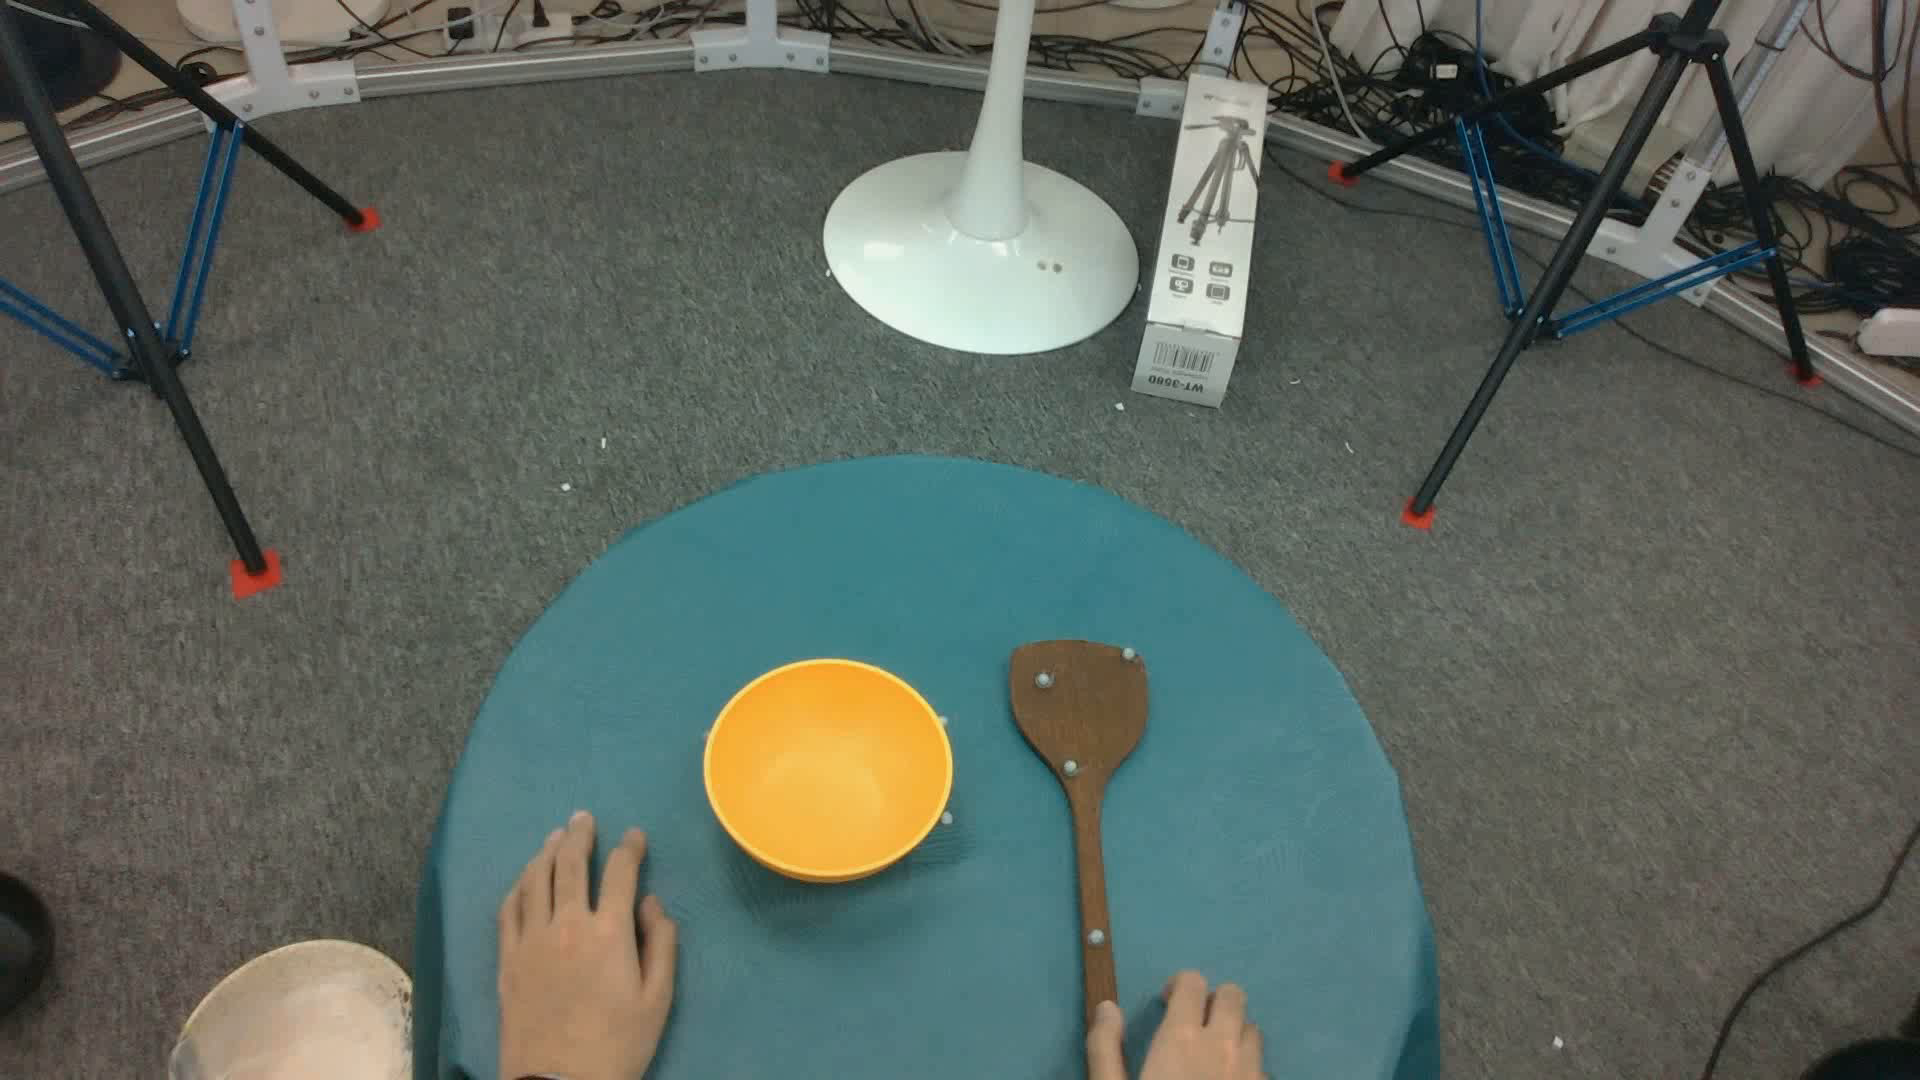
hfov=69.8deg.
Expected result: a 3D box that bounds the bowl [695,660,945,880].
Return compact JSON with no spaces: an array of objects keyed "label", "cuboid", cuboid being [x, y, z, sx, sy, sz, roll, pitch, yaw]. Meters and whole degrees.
[{"label":"bowl","cuboid":[-0.083,0.146,0.823,0.145,0.060,0.146,3,50,-4]}]

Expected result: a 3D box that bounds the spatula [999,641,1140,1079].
[{"label":"spatula","cuboid":[0.074,0.217,0.816,0.096,0.015,0.388,4,49,-6]}]
